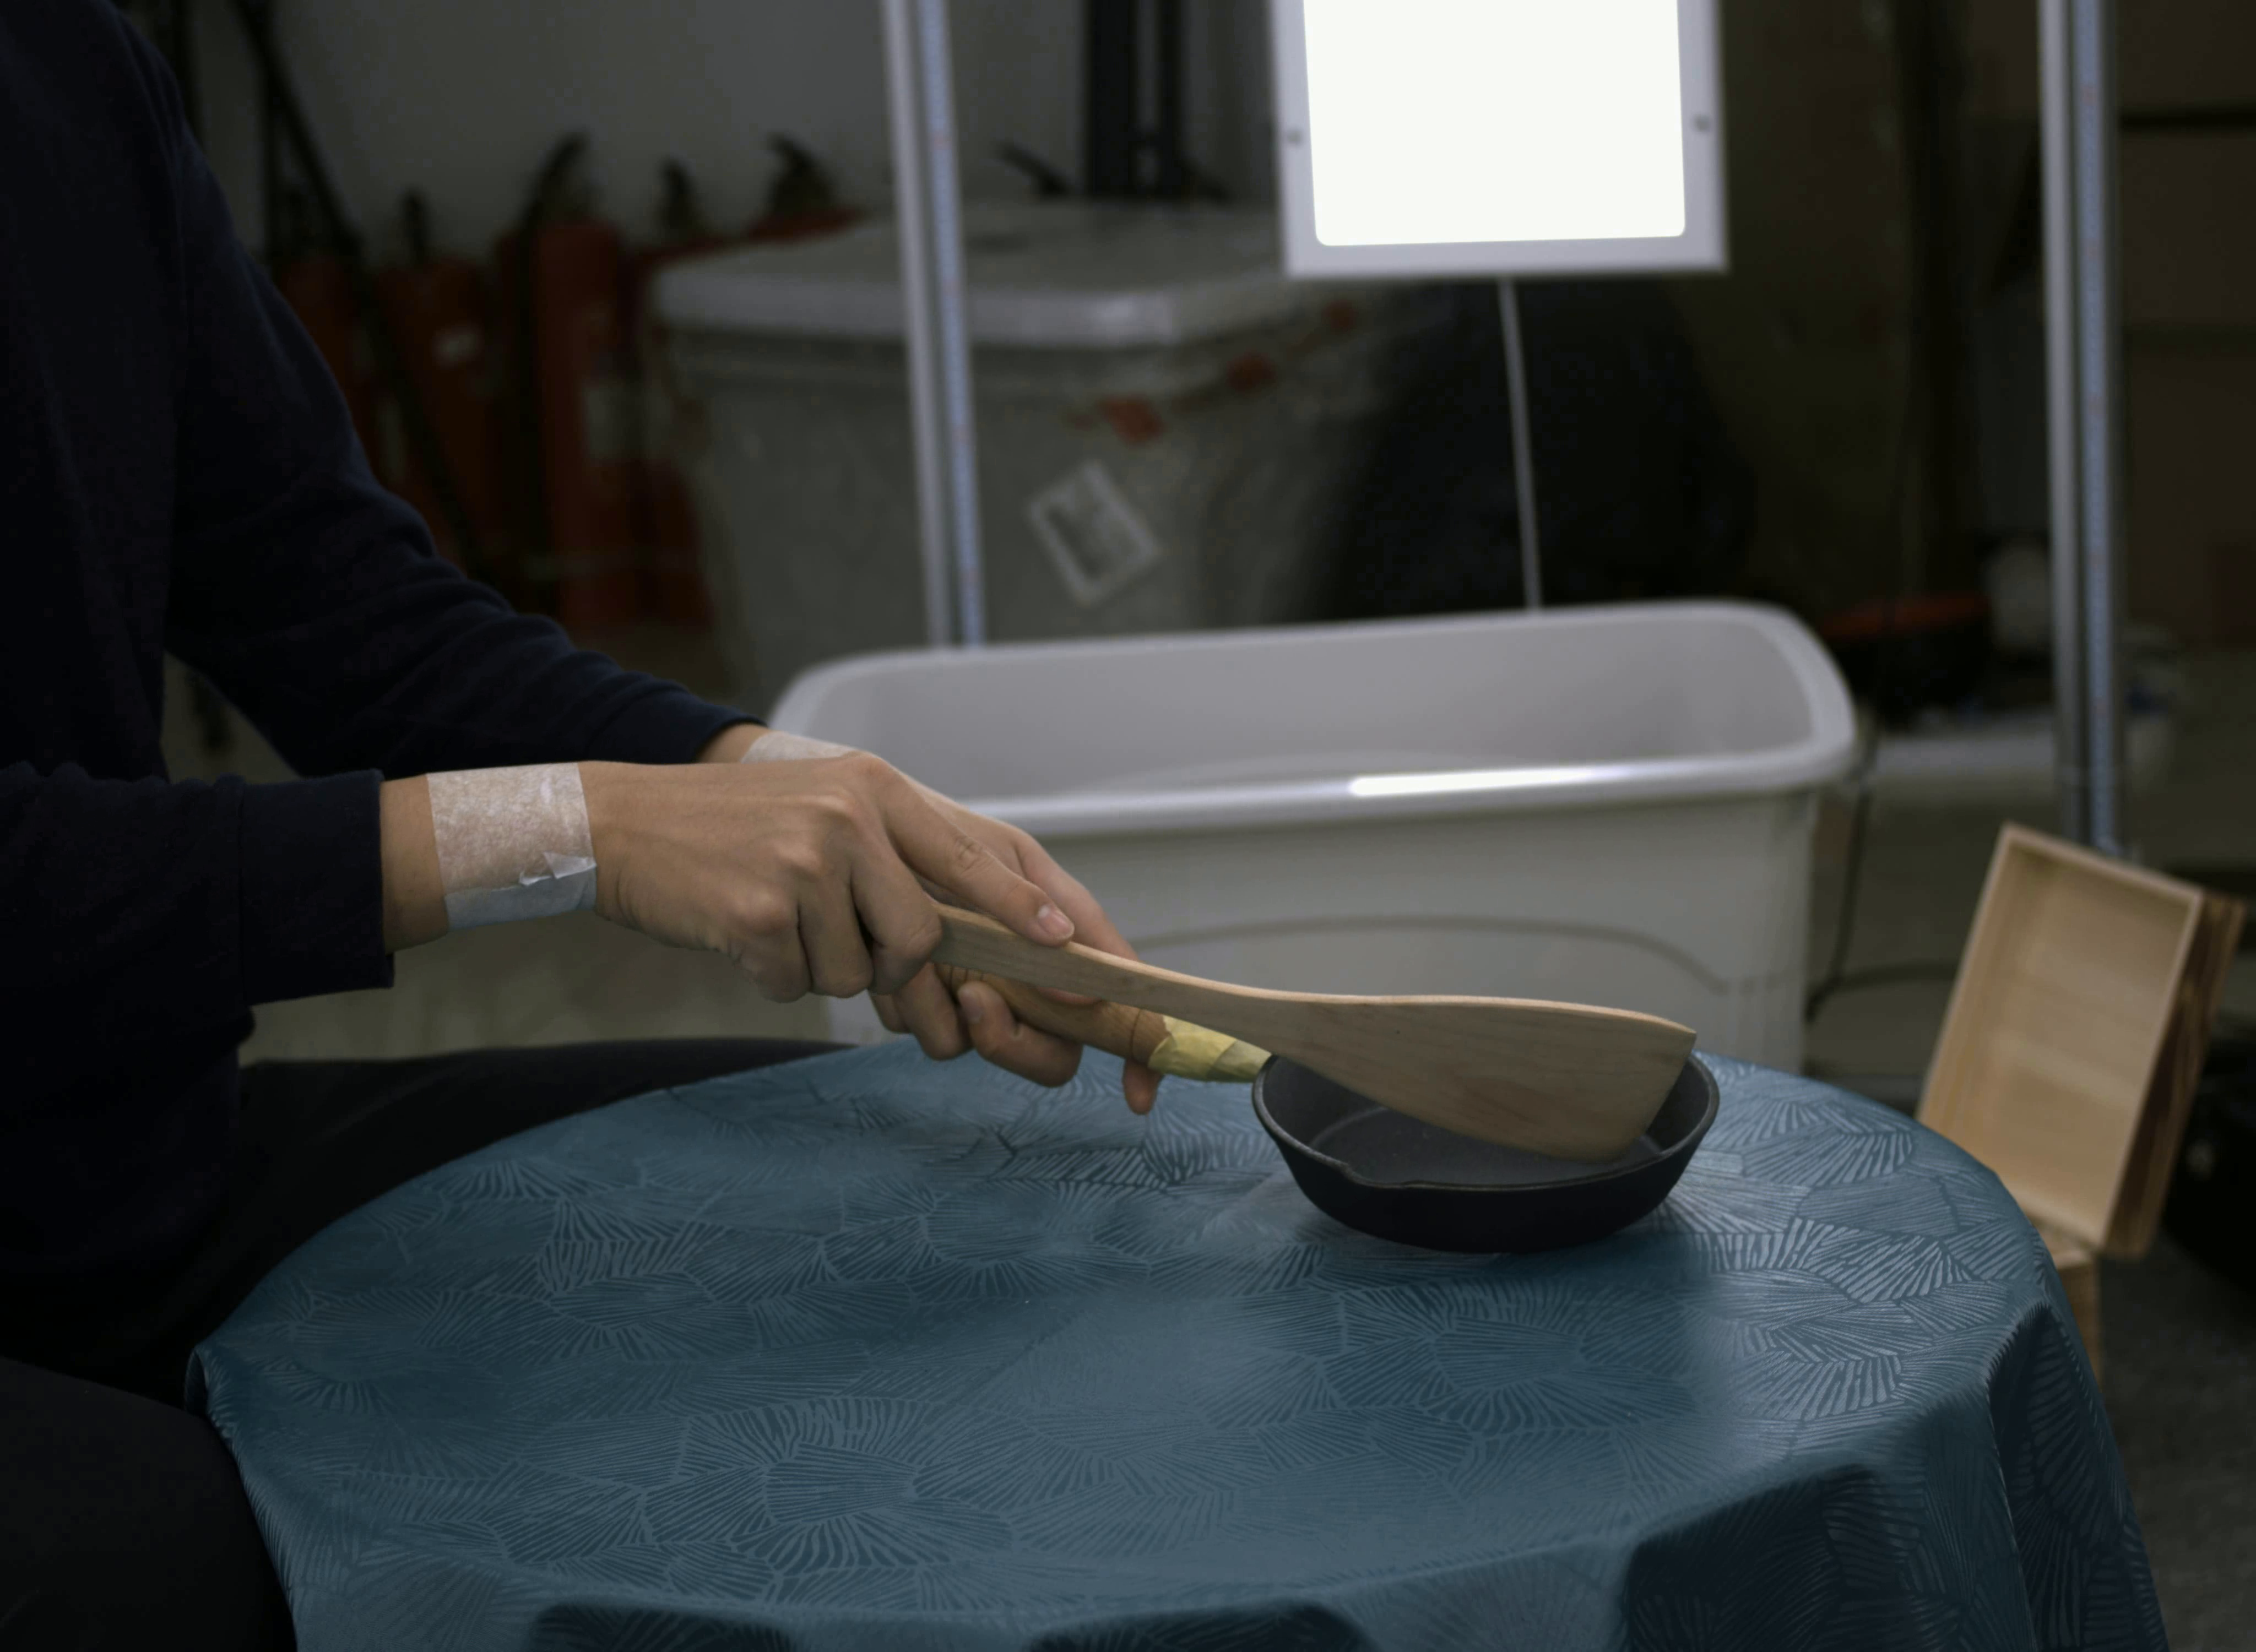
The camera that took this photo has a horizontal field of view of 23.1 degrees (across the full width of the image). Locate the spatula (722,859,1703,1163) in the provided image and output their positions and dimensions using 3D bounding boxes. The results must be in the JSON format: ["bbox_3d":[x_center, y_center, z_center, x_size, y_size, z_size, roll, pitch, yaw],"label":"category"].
[{"bbox_3d":[0.024,0.055,1.816,0.328,0.080,0.016,14,47,7],"label":"spatula"}]

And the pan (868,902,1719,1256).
[{"bbox_3d":[0.049,0.081,1.891,0.330,0.050,0.165,13,26,31],"label":"pan"}]
